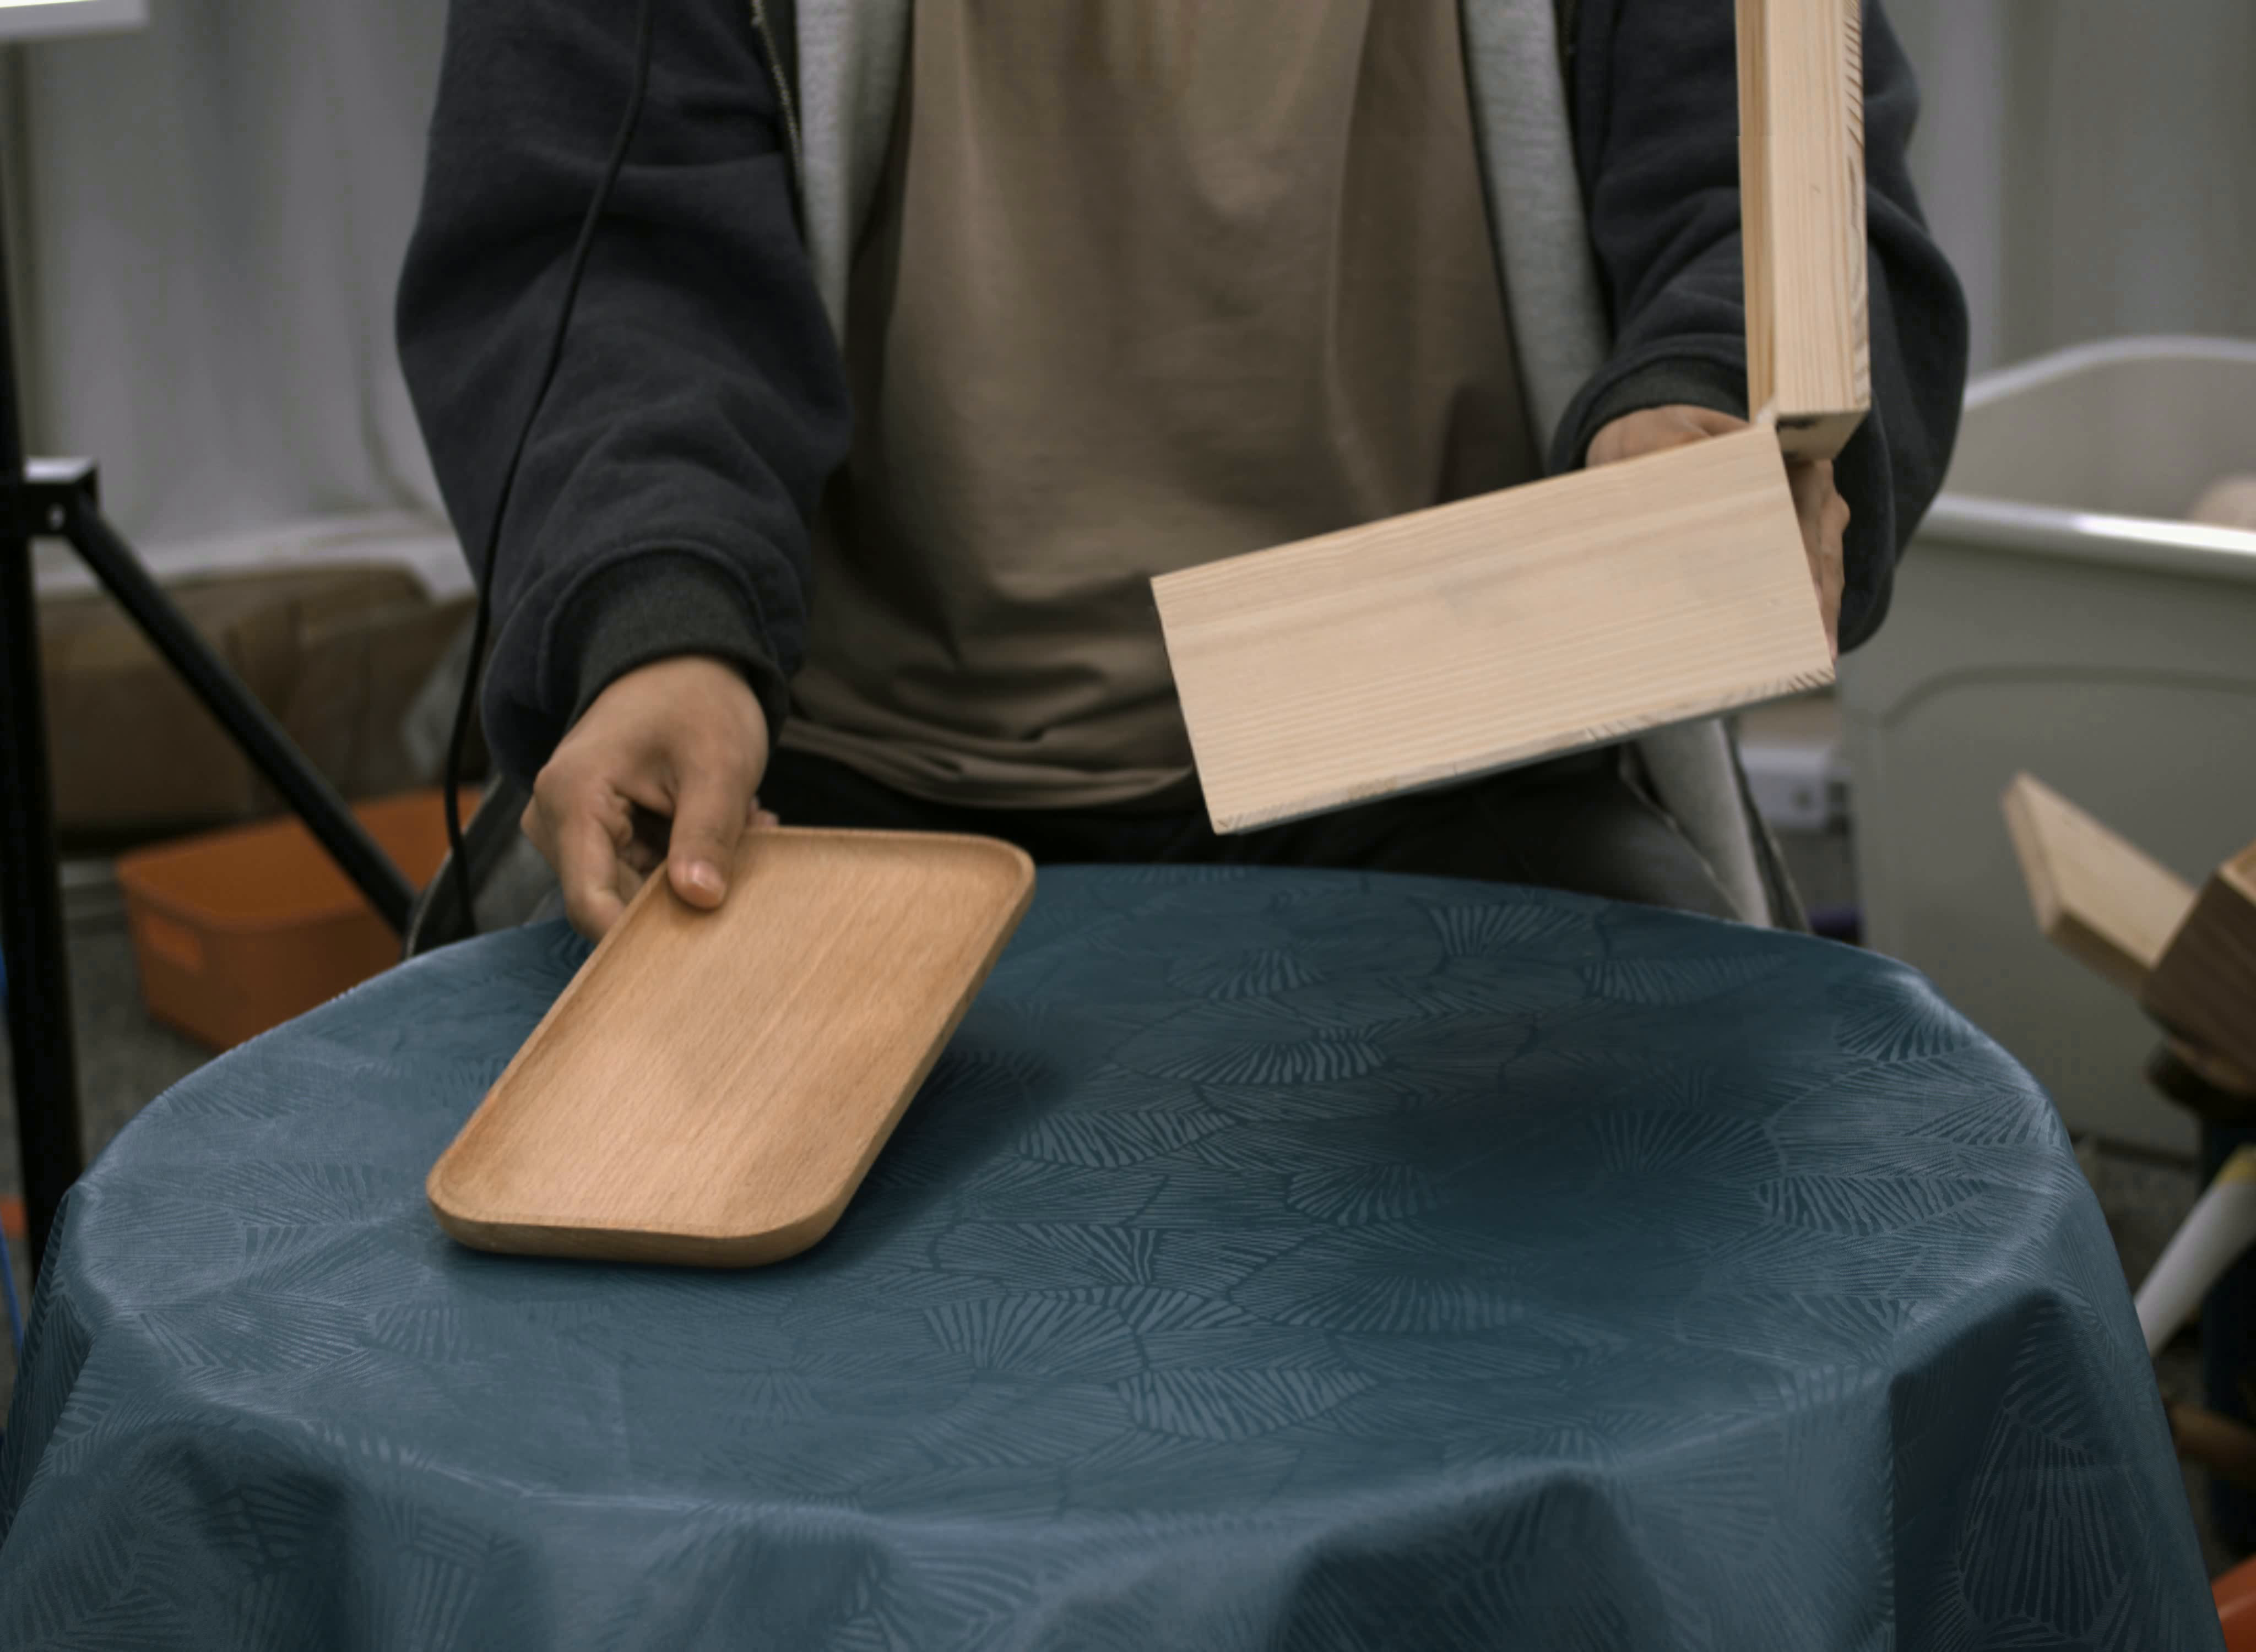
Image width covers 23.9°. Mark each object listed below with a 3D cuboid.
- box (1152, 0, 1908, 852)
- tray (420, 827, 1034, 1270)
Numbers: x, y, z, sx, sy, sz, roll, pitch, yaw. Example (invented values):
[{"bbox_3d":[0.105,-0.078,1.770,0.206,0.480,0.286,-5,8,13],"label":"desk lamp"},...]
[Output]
[{"bbox_3d":[0.124,-0.143,1.573,0.265,0.255,0.181,-12,-5,4],"label":"box"},{"bbox_3d":[-0.118,0.064,1.623,0.132,0.023,0.249,5,28,16],"label":"tray"}]
